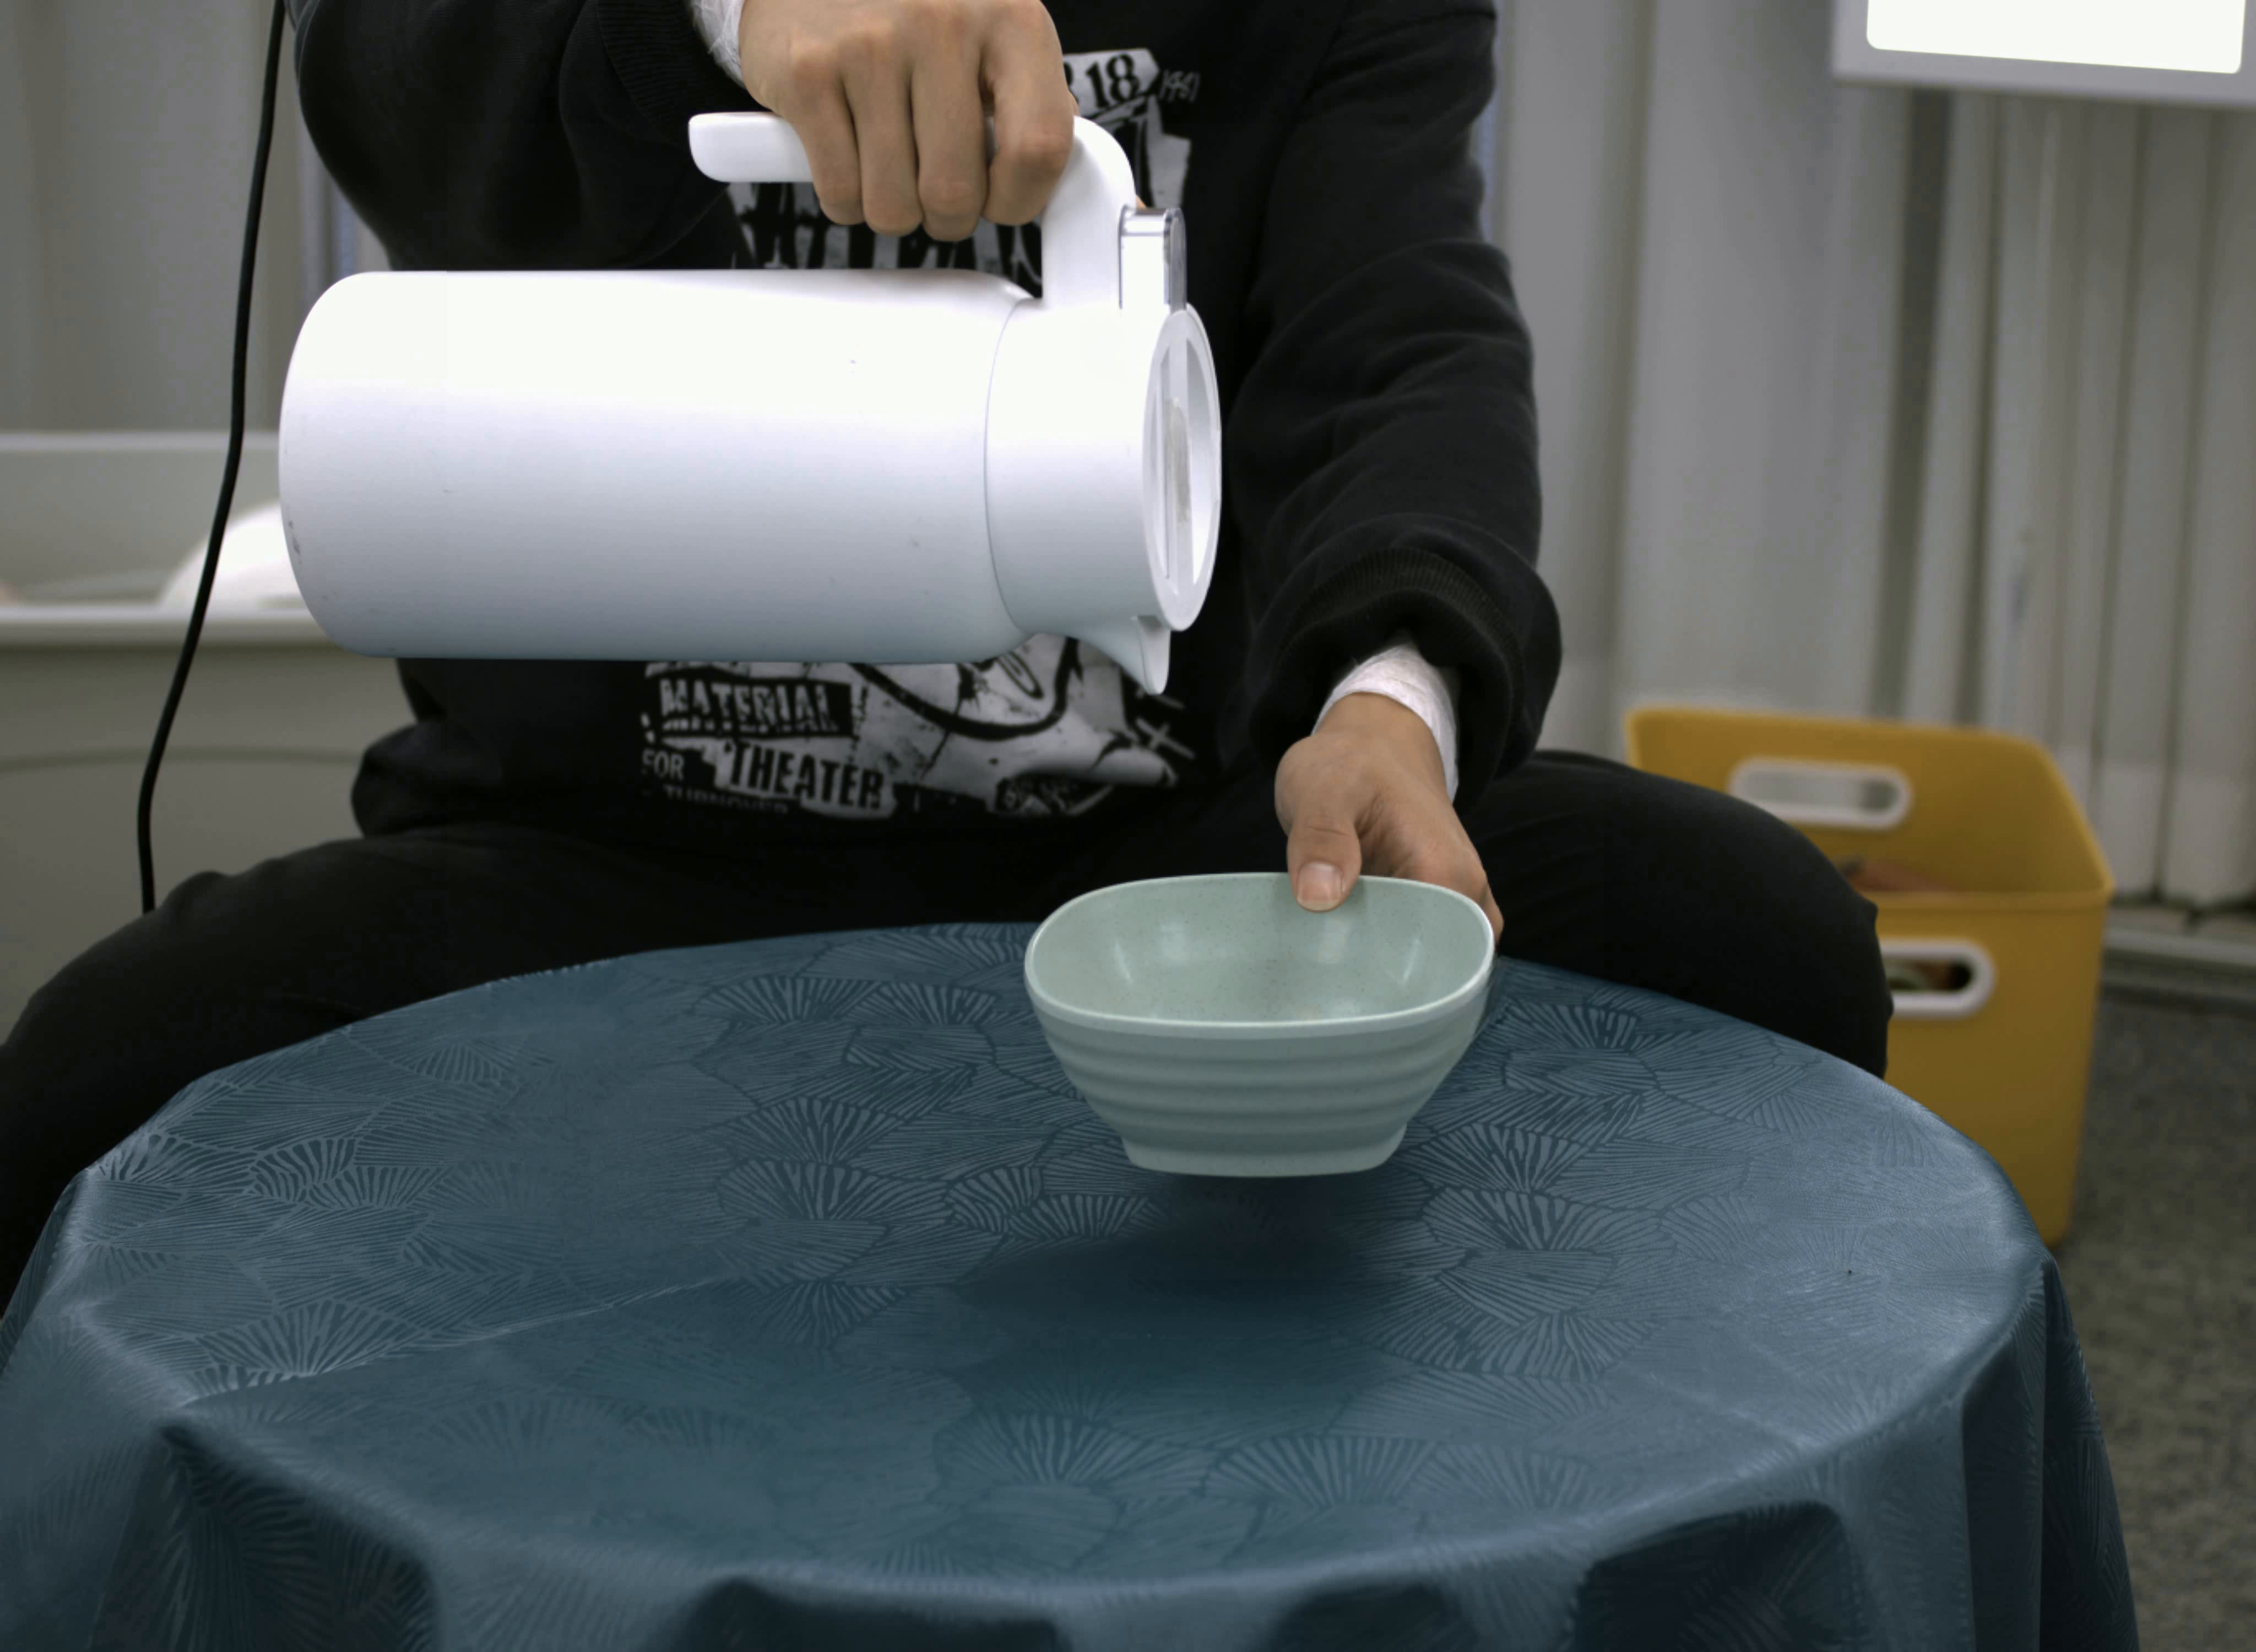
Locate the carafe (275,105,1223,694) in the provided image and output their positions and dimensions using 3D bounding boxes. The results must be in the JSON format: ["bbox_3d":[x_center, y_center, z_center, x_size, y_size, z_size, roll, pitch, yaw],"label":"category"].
[{"bbox_3d":[-0.112,-0.125,1.557,0.267,0.174,0.124,2,13,15],"label":"carafe"}]

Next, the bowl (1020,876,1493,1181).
[{"bbox_3d":[0.038,0.063,1.556,0.151,0.059,0.150,-1,18,1],"label":"bowl"}]
